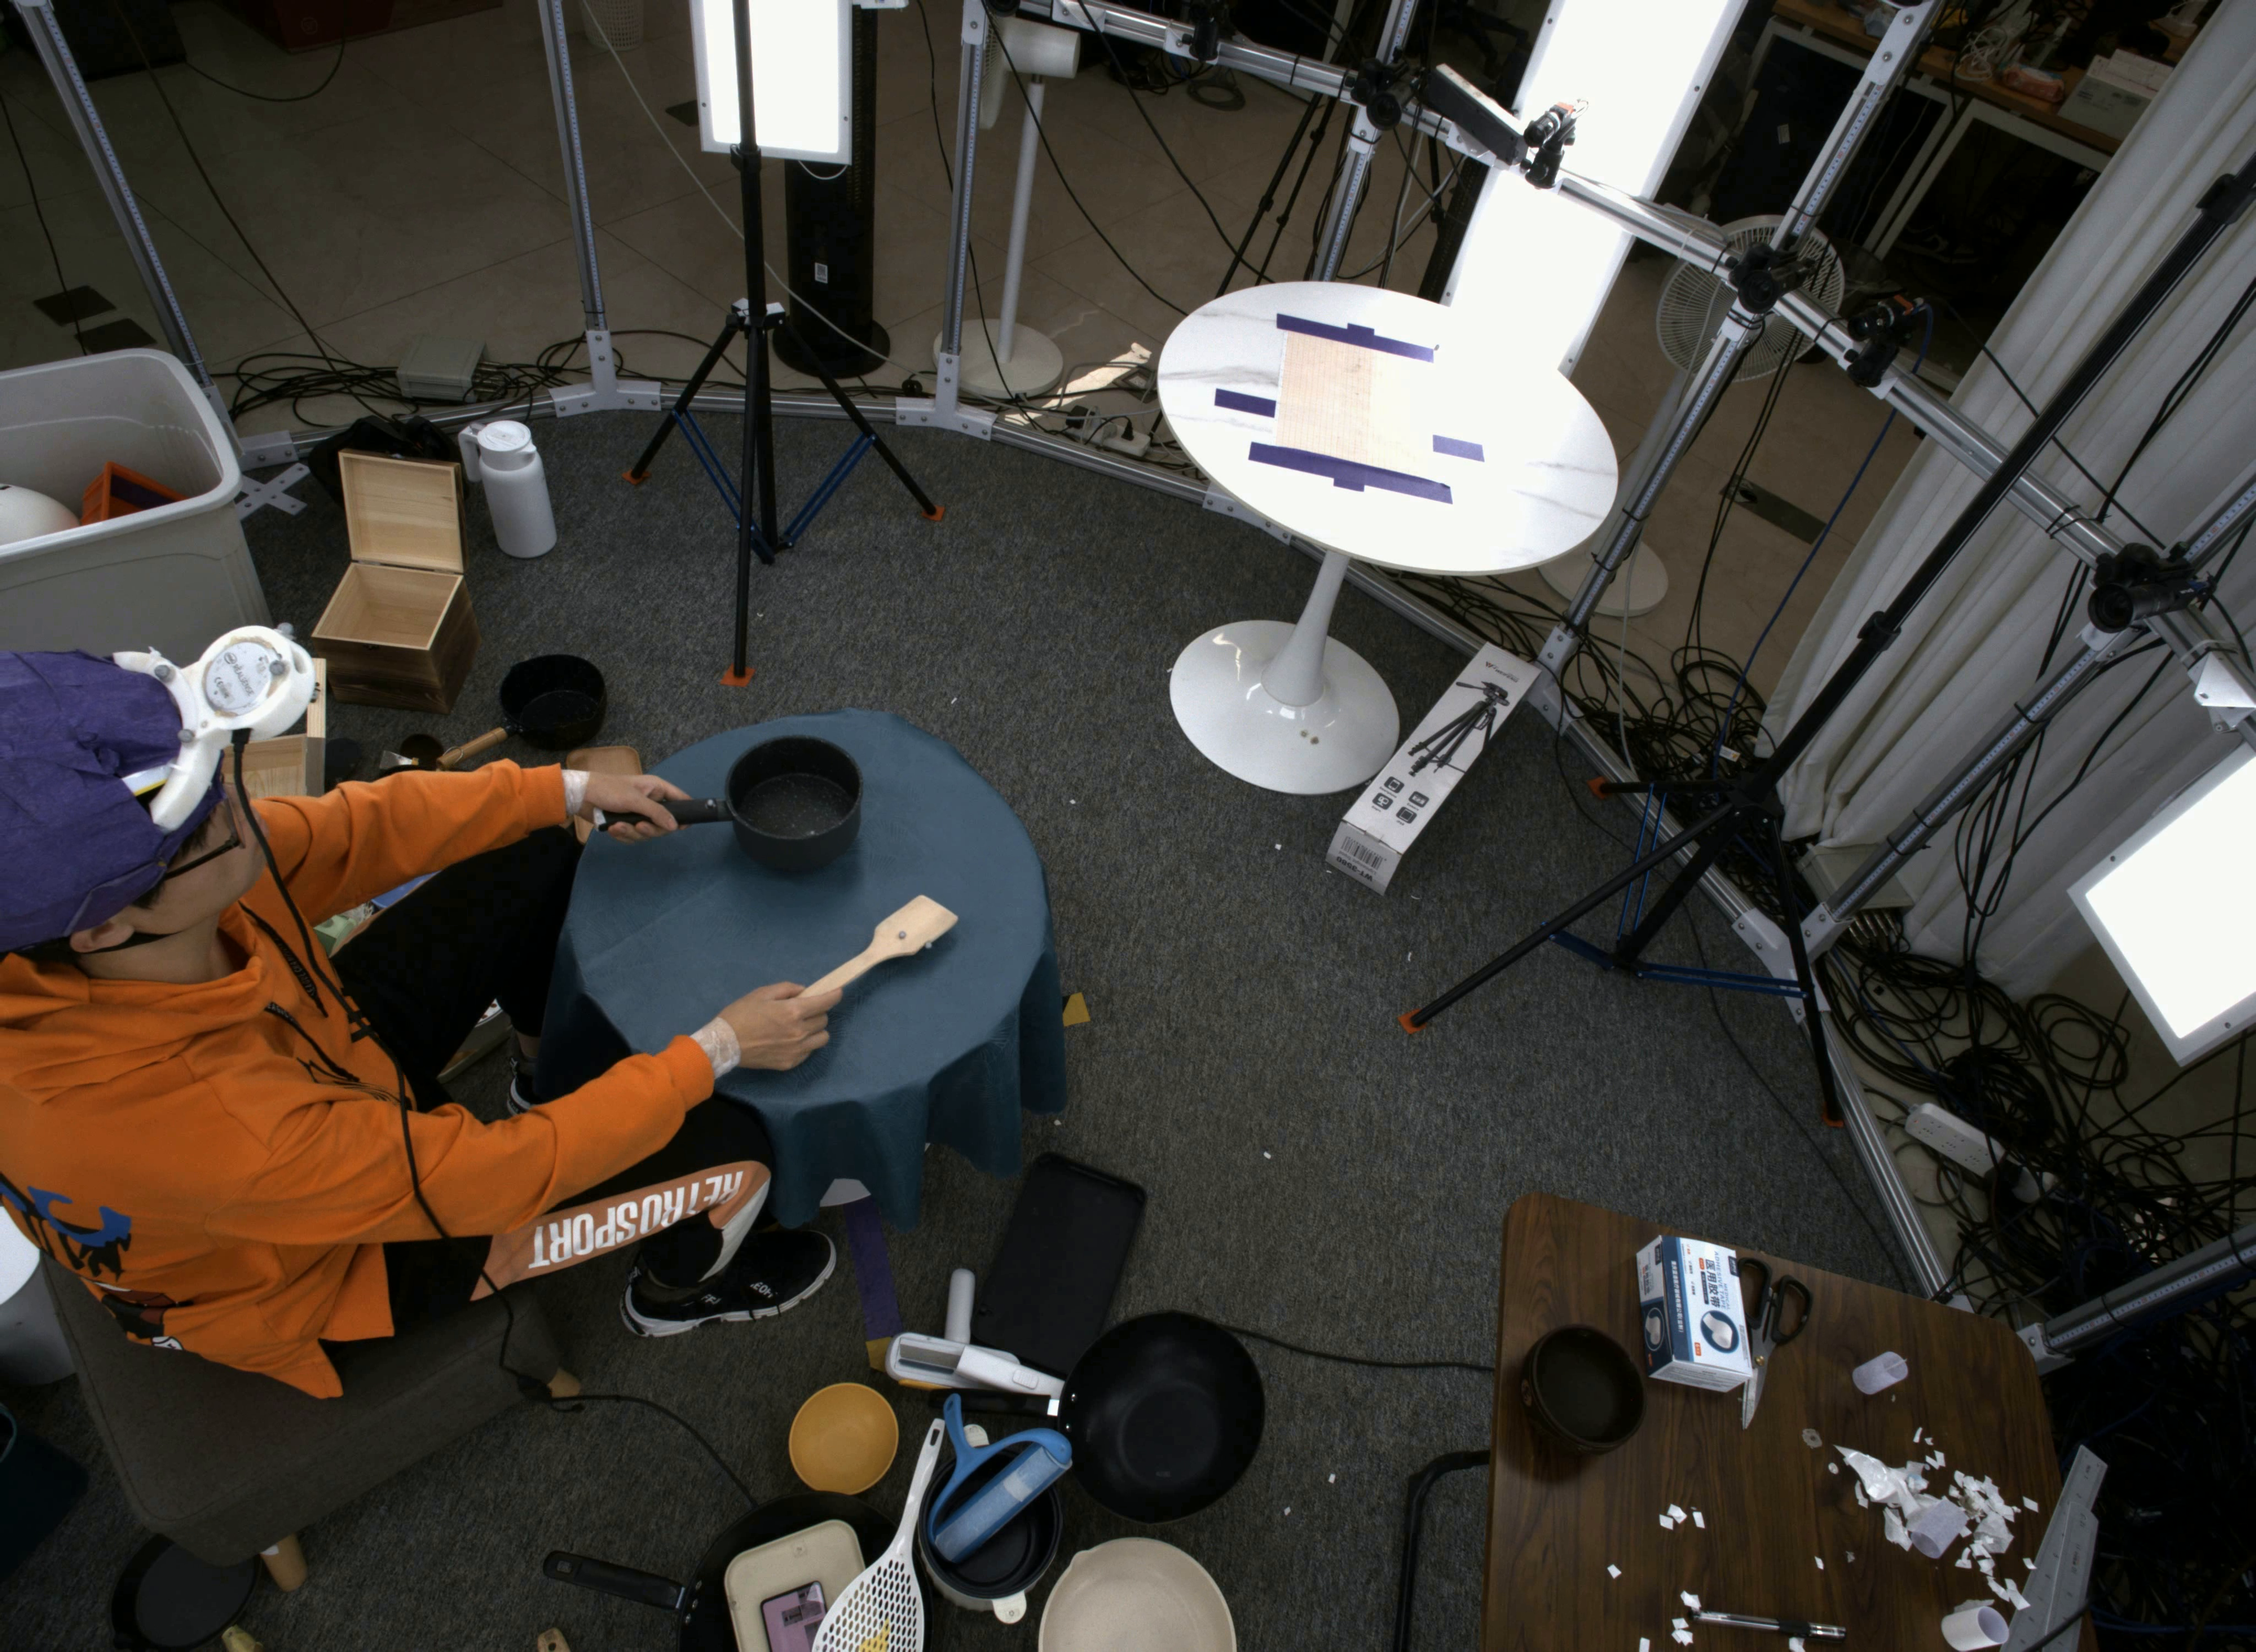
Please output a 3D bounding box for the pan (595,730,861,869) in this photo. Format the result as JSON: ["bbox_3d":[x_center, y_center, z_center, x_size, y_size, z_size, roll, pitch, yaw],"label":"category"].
[{"bbox_3d":[-0.500,-0.022,1.617,0.330,0.088,0.167,-8,55,-20],"label":"pan"}]

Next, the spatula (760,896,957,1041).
[{"bbox_3d":[-0.327,0.171,1.572,0.070,0.011,0.293,30,44,23],"label":"spatula"}]
